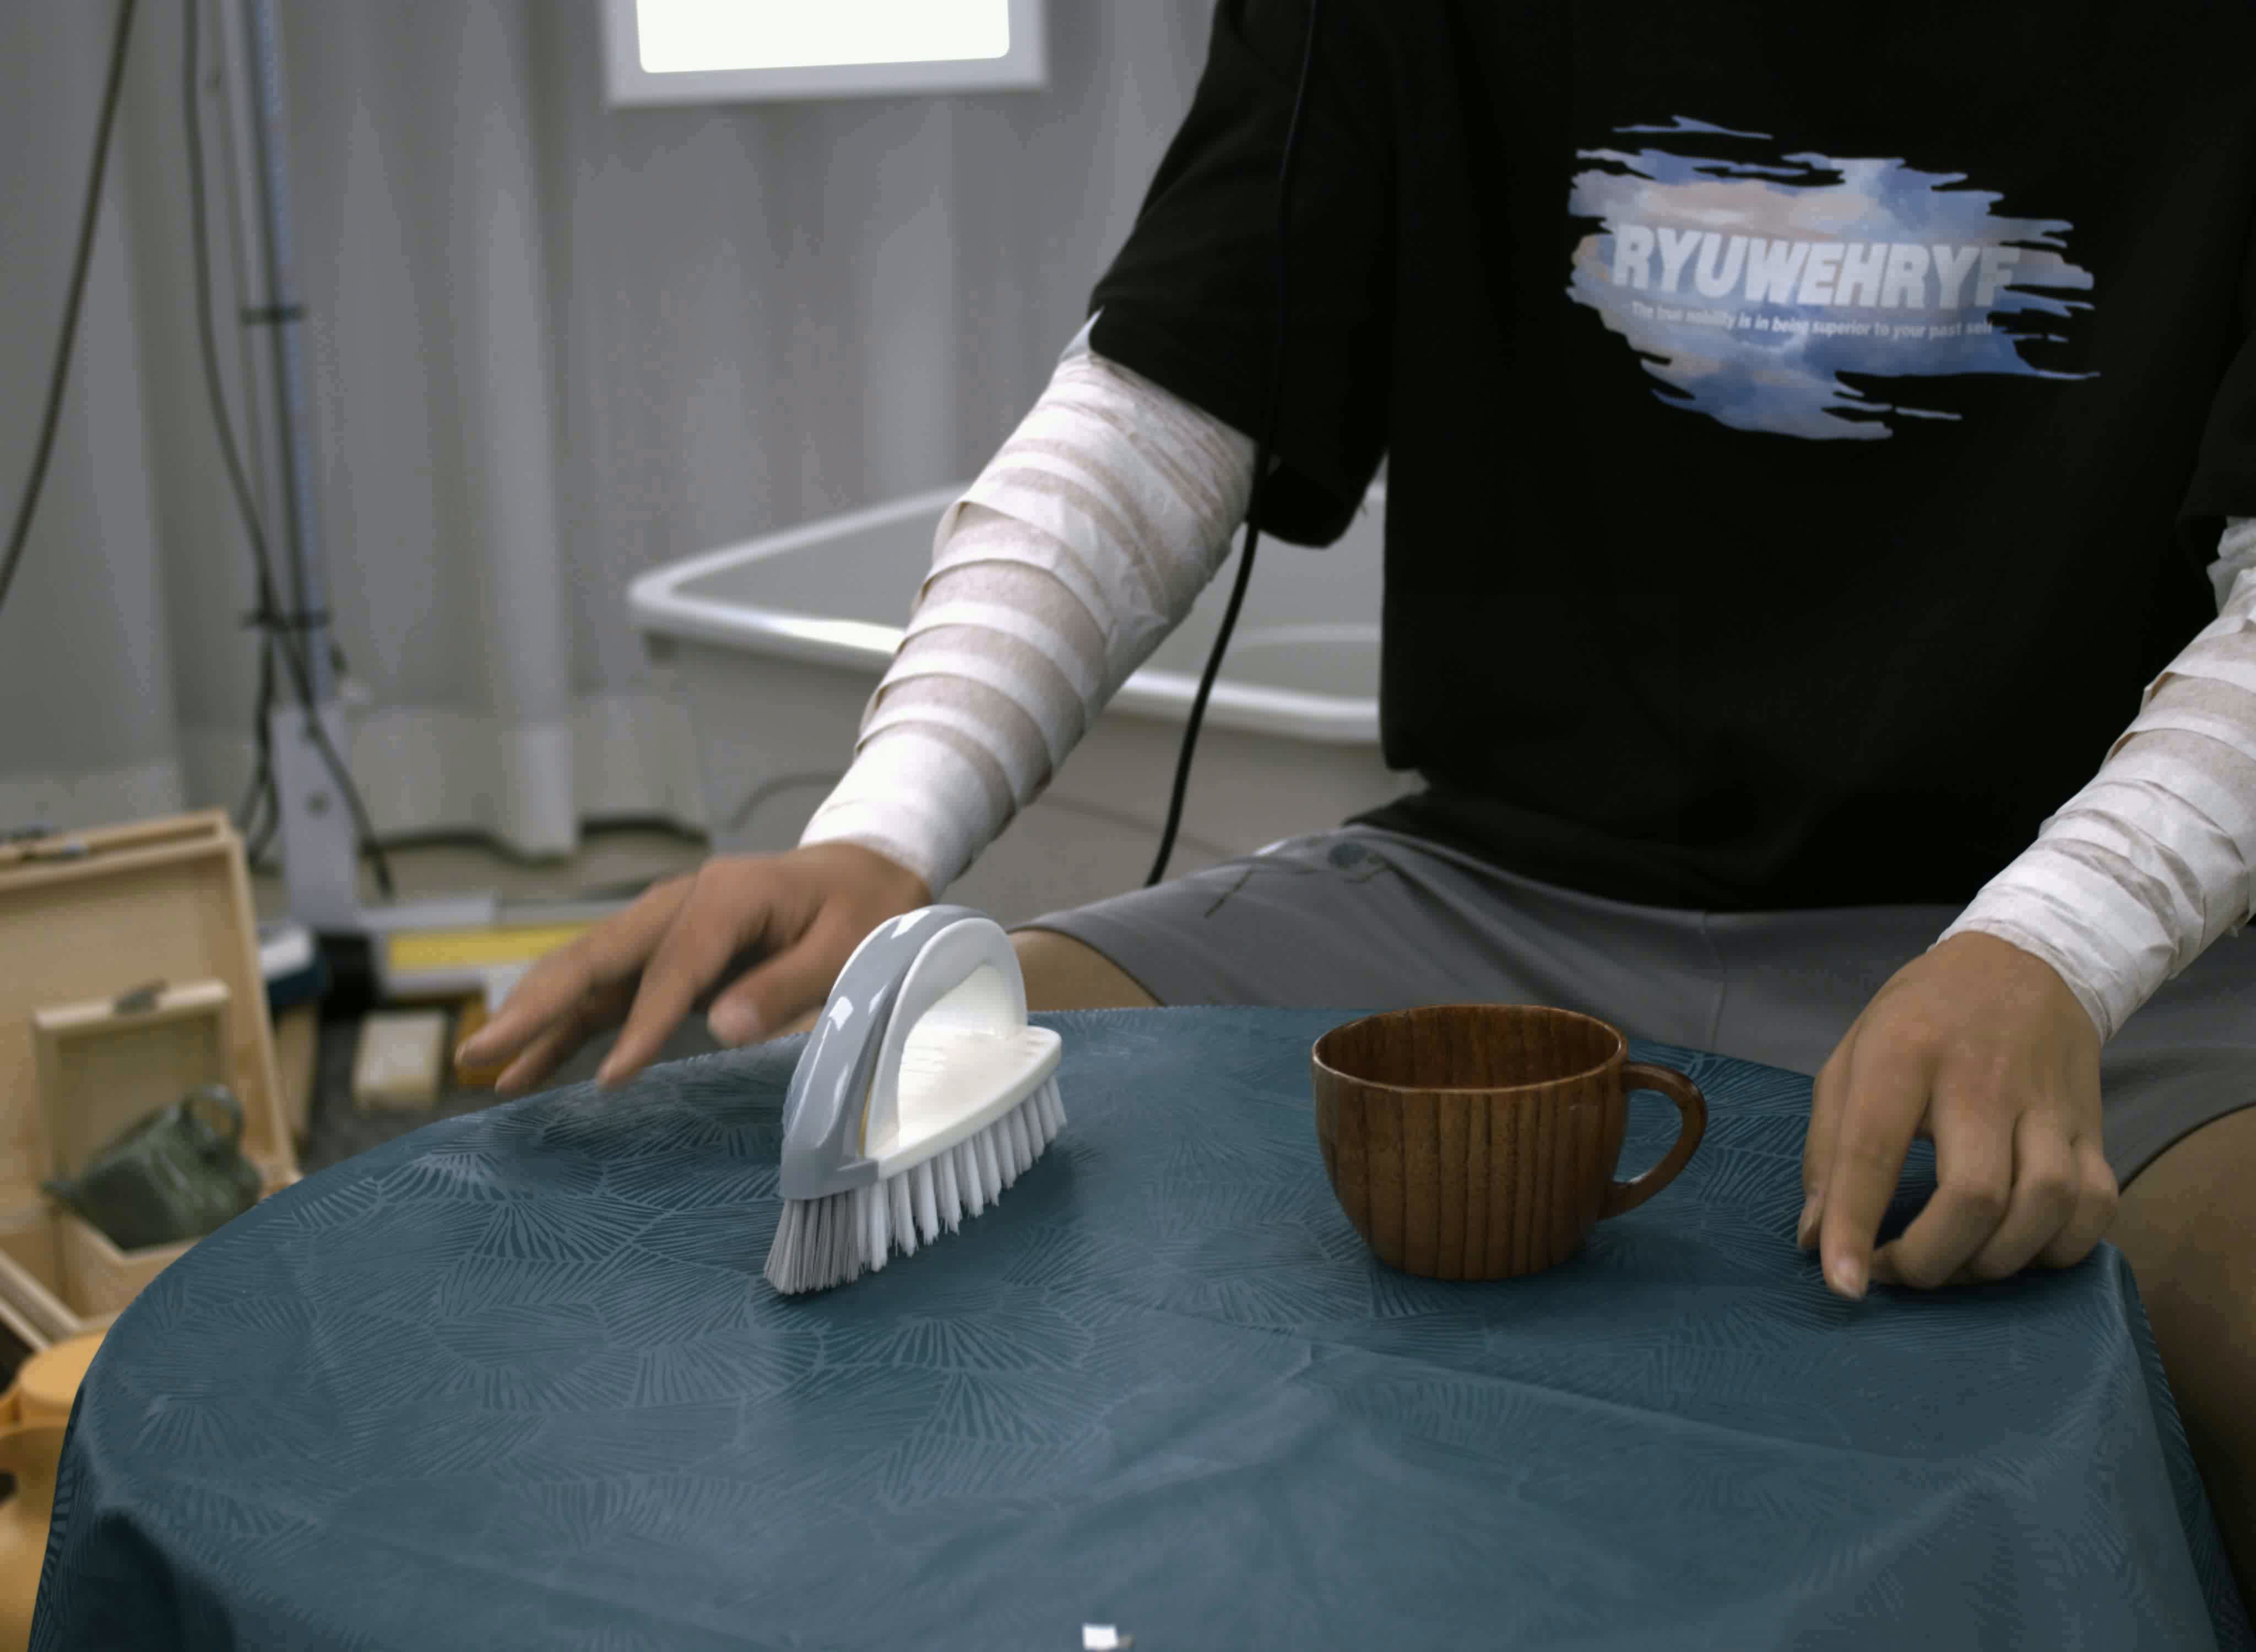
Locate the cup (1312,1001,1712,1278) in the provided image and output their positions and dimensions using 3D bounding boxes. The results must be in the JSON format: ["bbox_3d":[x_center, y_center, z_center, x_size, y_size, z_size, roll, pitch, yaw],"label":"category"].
[{"bbox_3d":[0.115,0.096,1.633,0.119,0.067,0.096,2,13,14],"label":"cup"}]

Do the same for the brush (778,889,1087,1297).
[{"bbox_3d":[-0.070,0.077,1.693,0.061,0.094,0.176,-2,16,22],"label":"brush"}]
